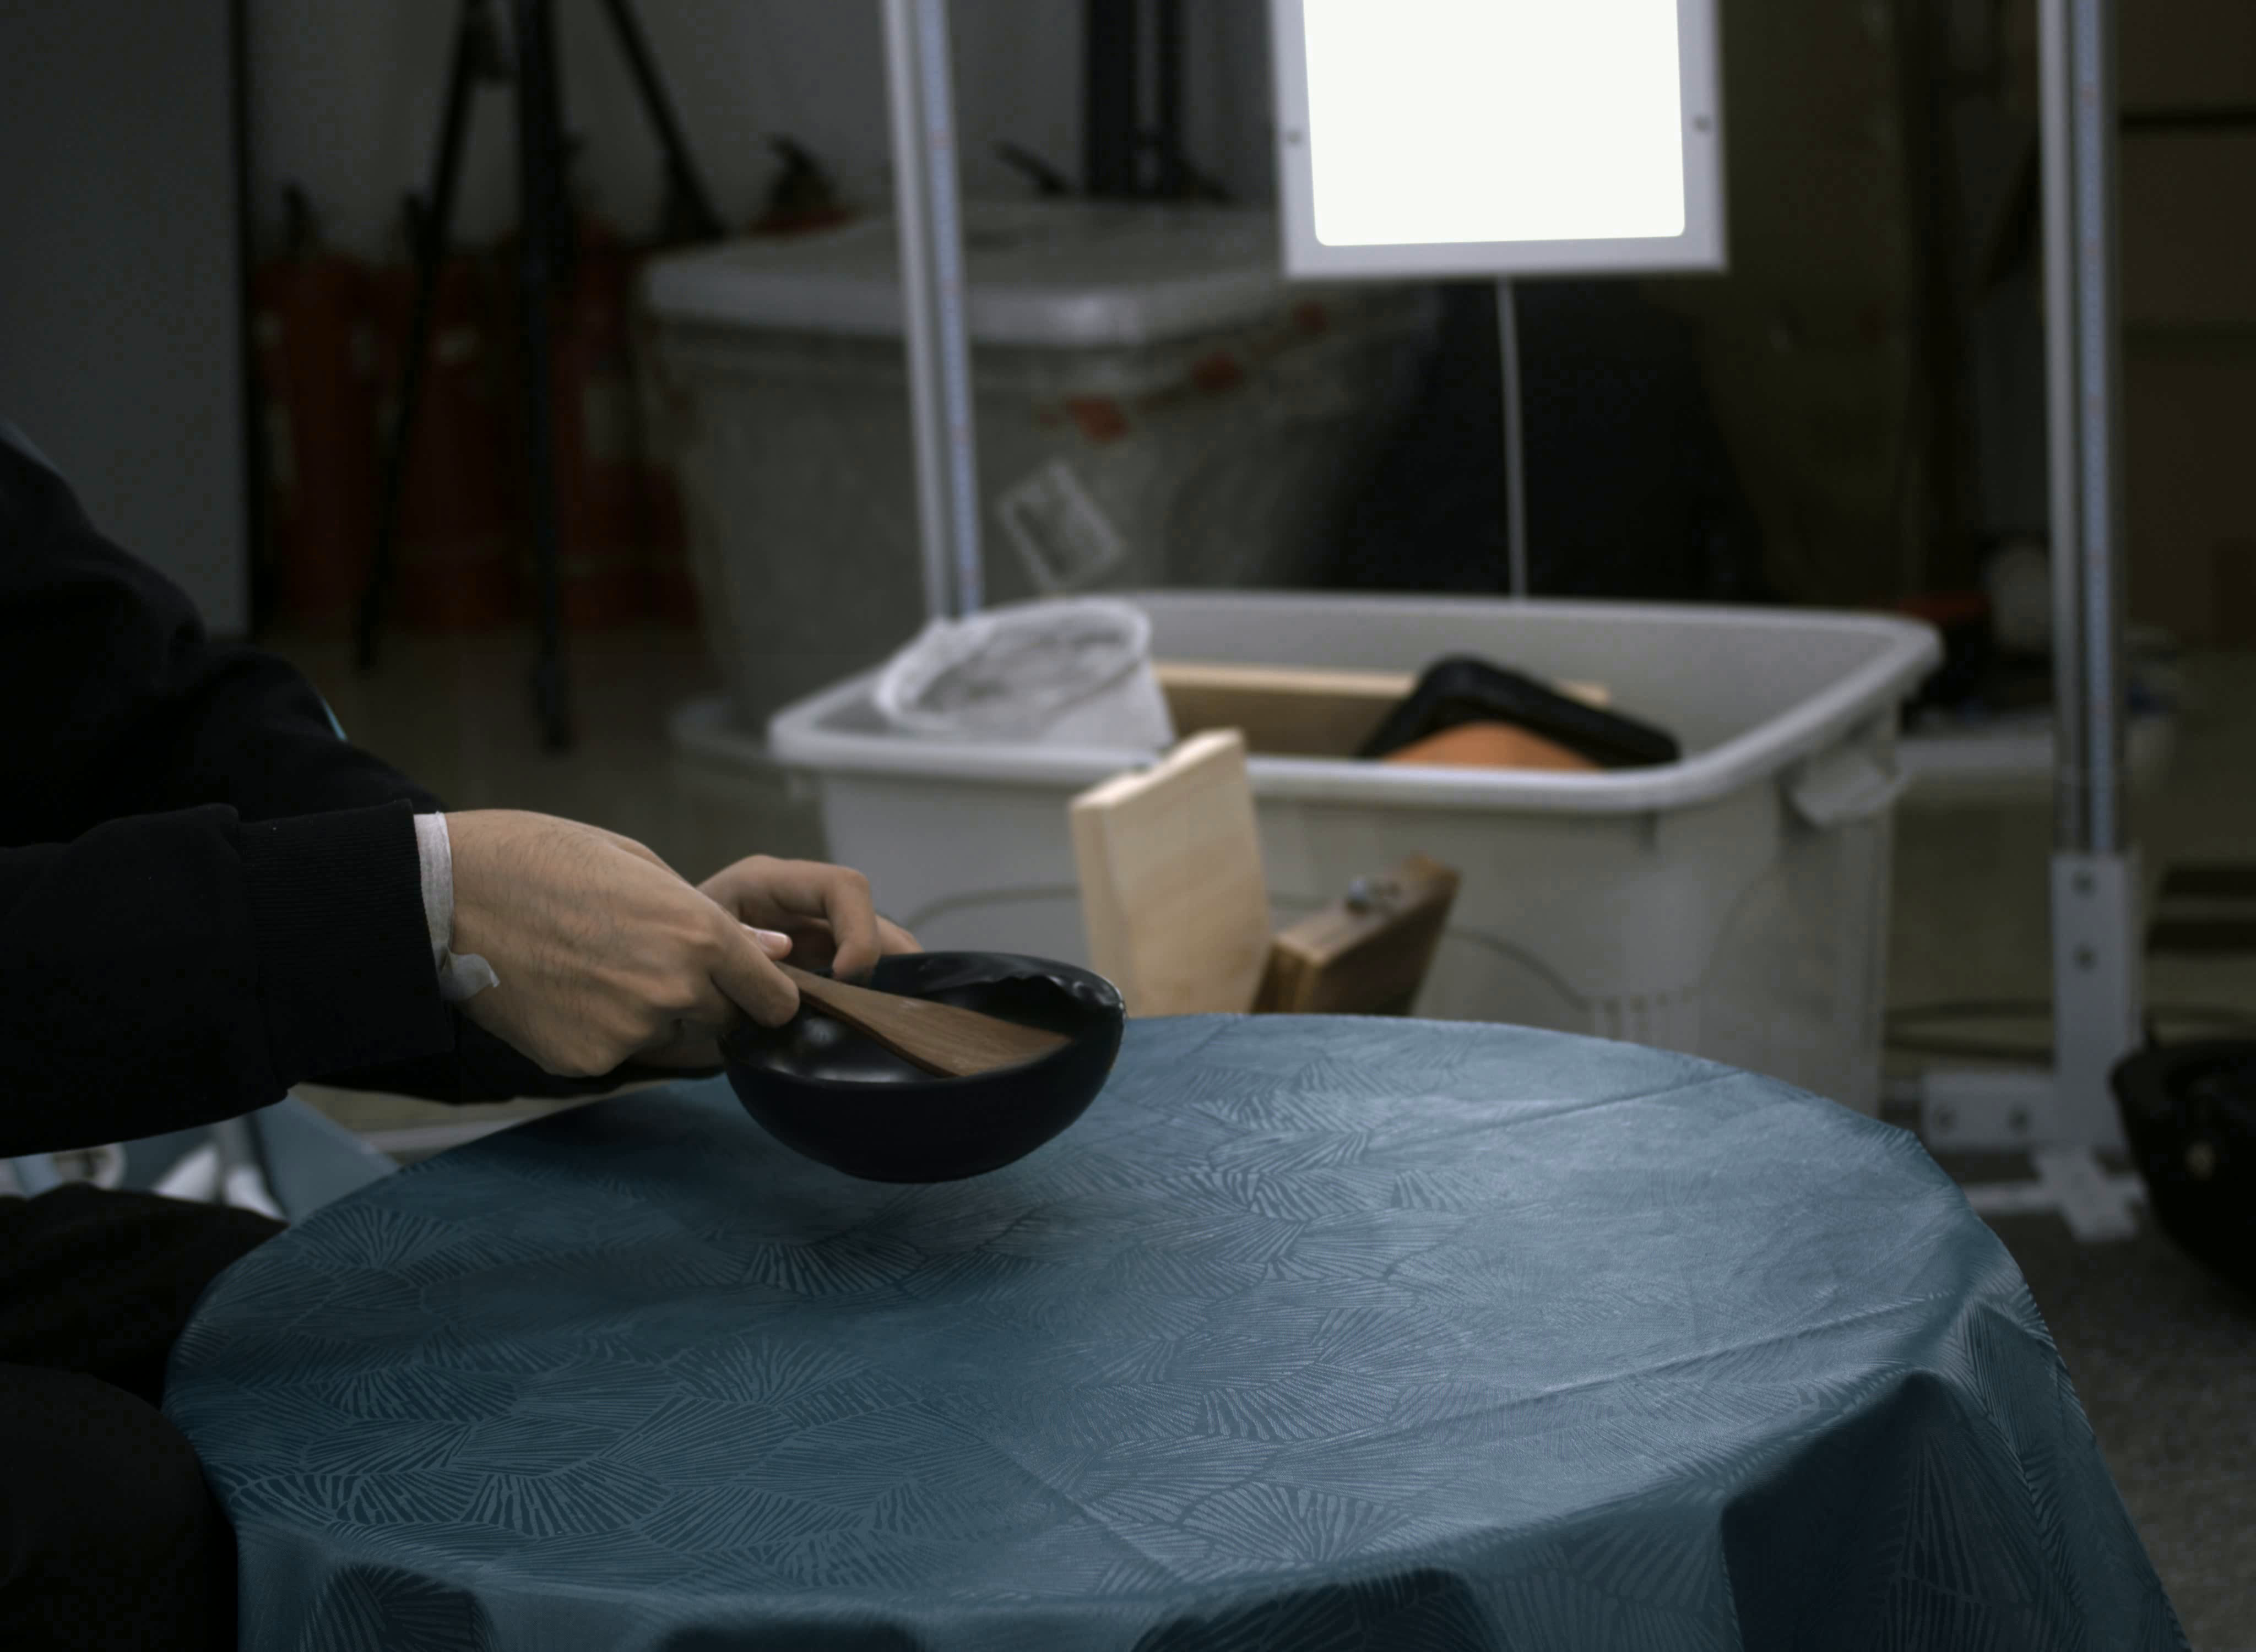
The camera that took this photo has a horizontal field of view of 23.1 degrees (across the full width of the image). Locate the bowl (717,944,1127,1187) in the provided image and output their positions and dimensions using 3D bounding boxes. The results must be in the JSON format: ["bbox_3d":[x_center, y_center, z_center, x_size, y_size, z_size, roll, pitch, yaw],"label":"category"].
[{"bbox_3d":[-0.068,0.086,1.865,0.140,0.050,0.140,-5,19,0],"label":"bowl"}]

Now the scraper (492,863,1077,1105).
[{"bbox_3d":[-0.115,0.052,1.861,0.211,0.011,0.075,20,17,3],"label":"scraper"}]
